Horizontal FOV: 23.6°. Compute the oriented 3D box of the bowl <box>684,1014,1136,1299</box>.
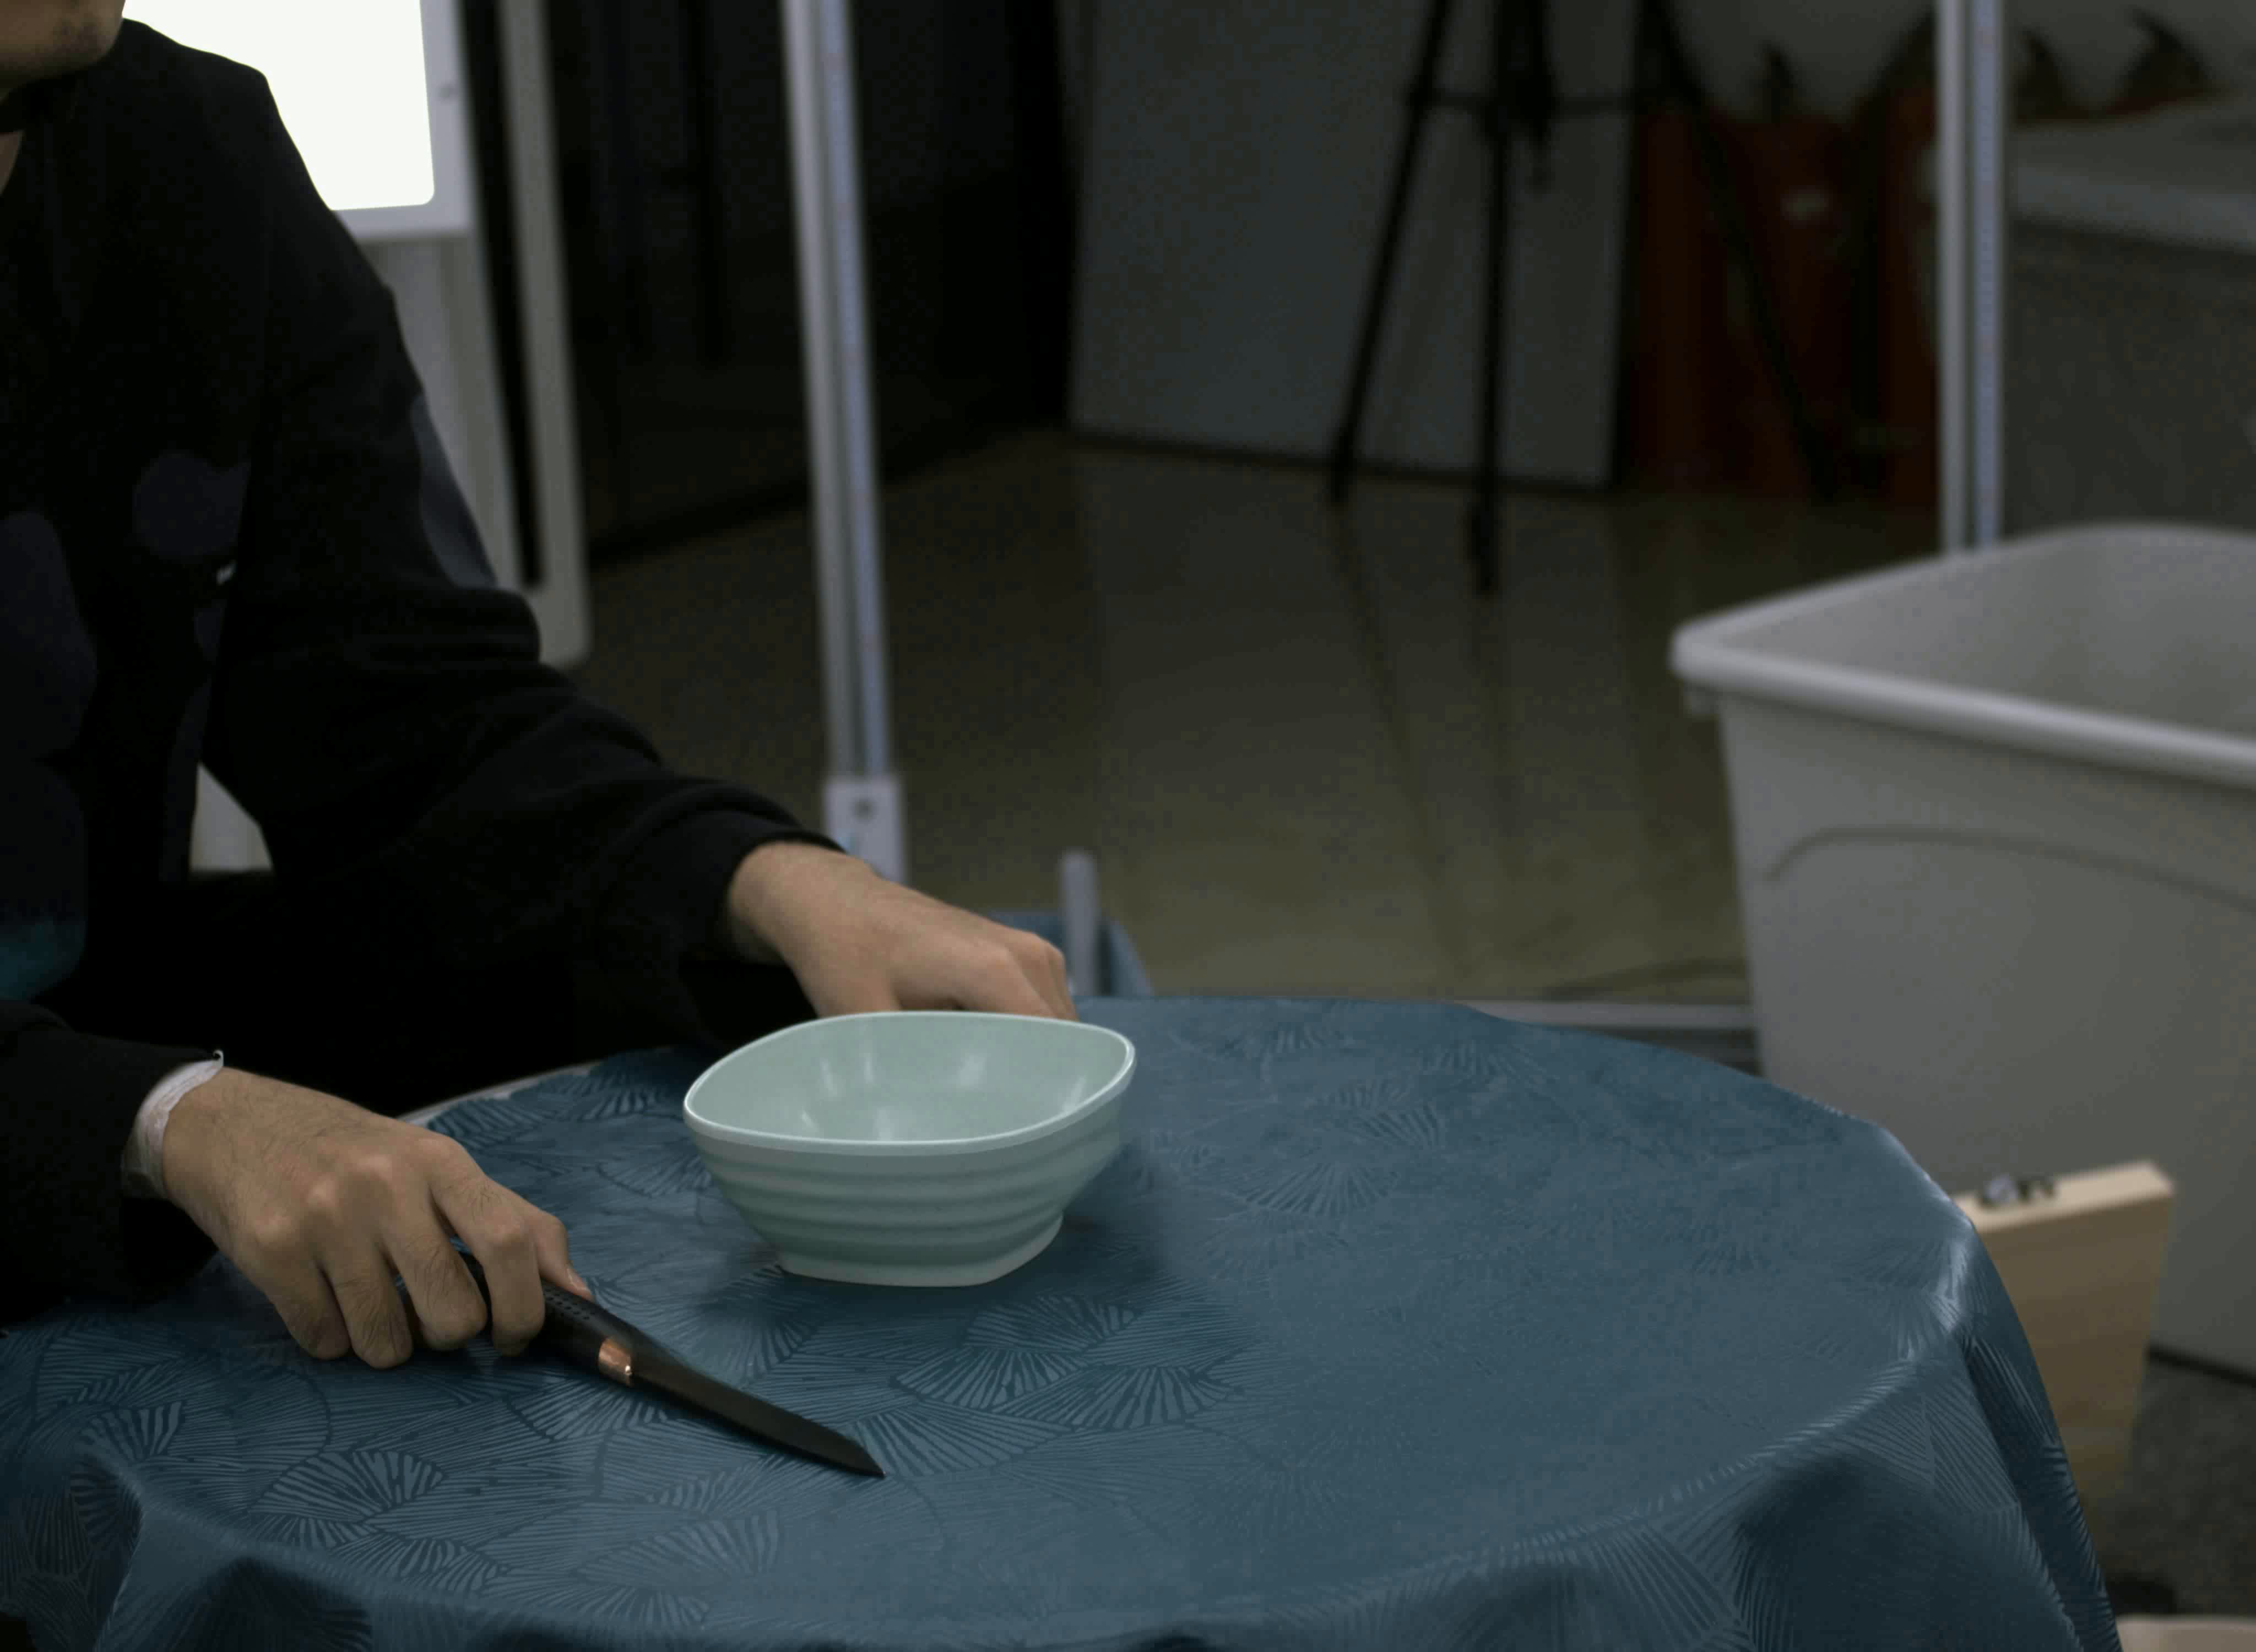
[{"bbox_3d":[-0.067,0.109,1.726,0.149,0.059,0.152,-4,15,0],"label":"bowl"}]

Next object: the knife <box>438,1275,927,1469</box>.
[{"bbox_3d":[-0.136,0.164,1.616,0.025,0.017,0.228,-3,11,-41],"label":"knife"}]
